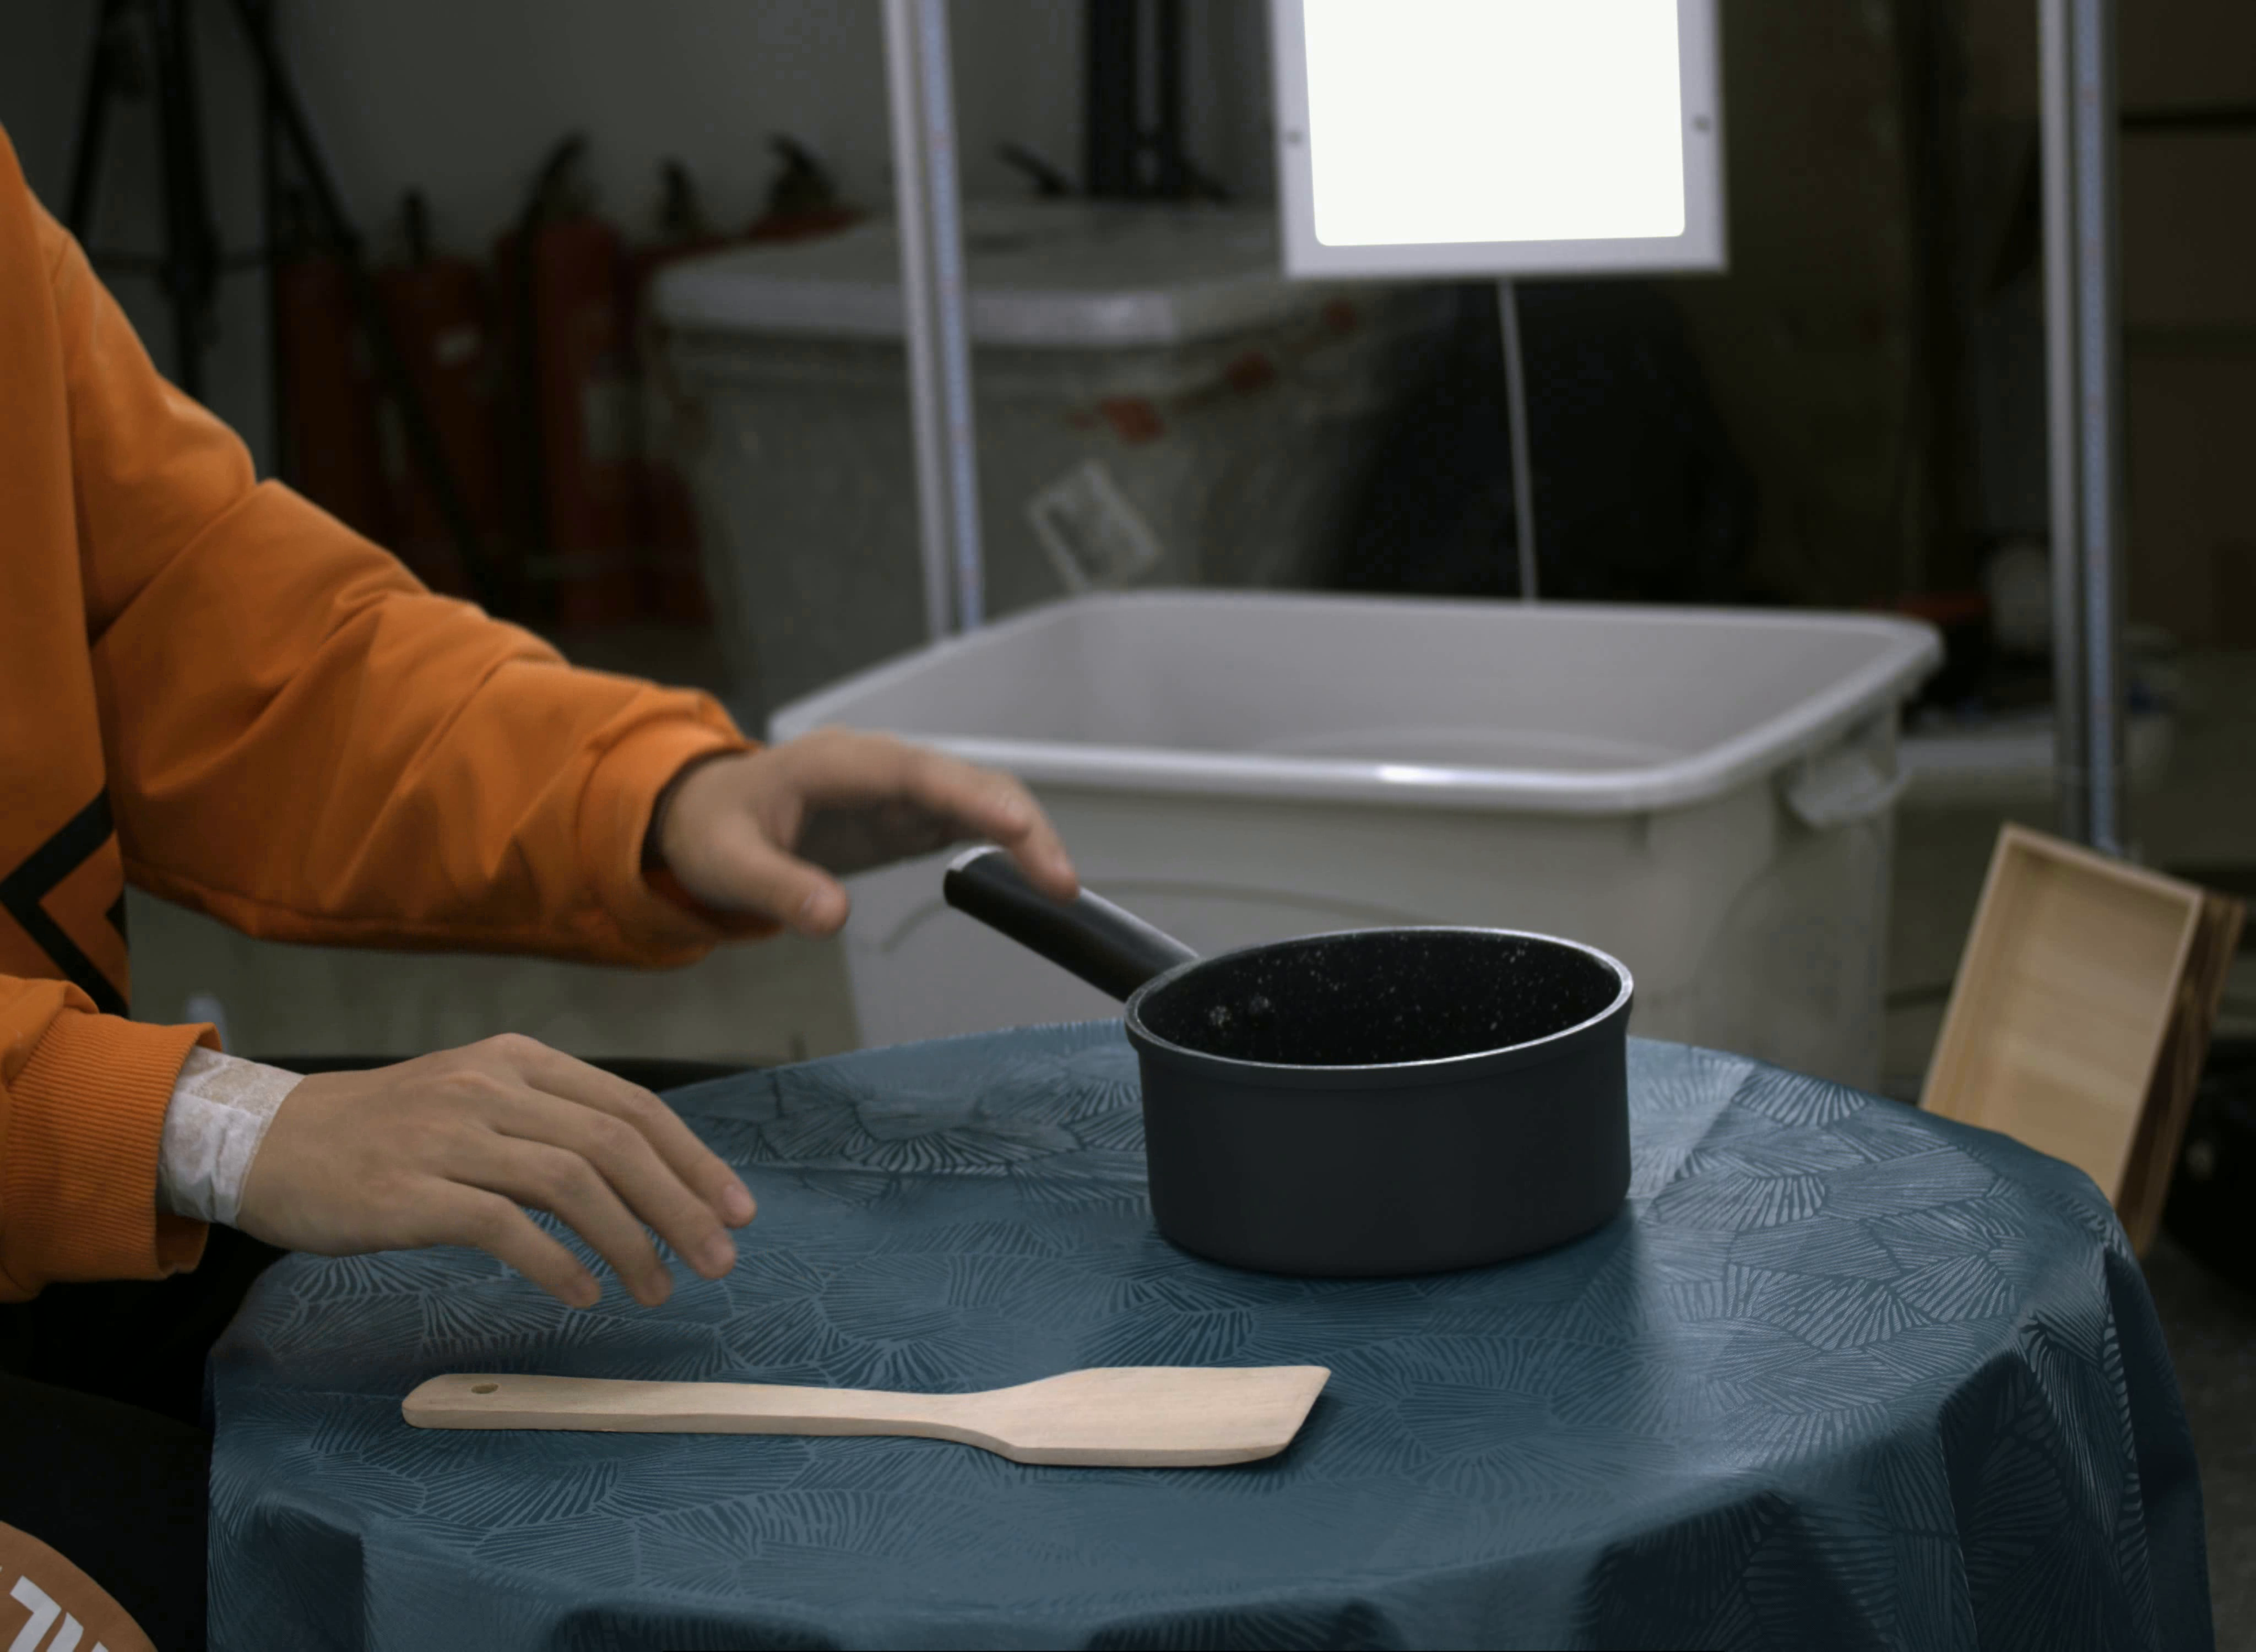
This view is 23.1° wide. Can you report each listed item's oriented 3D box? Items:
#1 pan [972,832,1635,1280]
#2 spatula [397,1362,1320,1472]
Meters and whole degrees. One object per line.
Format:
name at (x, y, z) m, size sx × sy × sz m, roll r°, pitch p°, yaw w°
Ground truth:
pan at (0.043, 0.075, 1.913) m, size 0.168 × 0.087 × 0.335 m, roll -12°, pitch 17°, yaw -30°
spatula at (-0.088, 0.179, 1.696) m, size 0.296 × 0.011 × 0.071 m, roll -1°, pitch 18°, yaw 18°
